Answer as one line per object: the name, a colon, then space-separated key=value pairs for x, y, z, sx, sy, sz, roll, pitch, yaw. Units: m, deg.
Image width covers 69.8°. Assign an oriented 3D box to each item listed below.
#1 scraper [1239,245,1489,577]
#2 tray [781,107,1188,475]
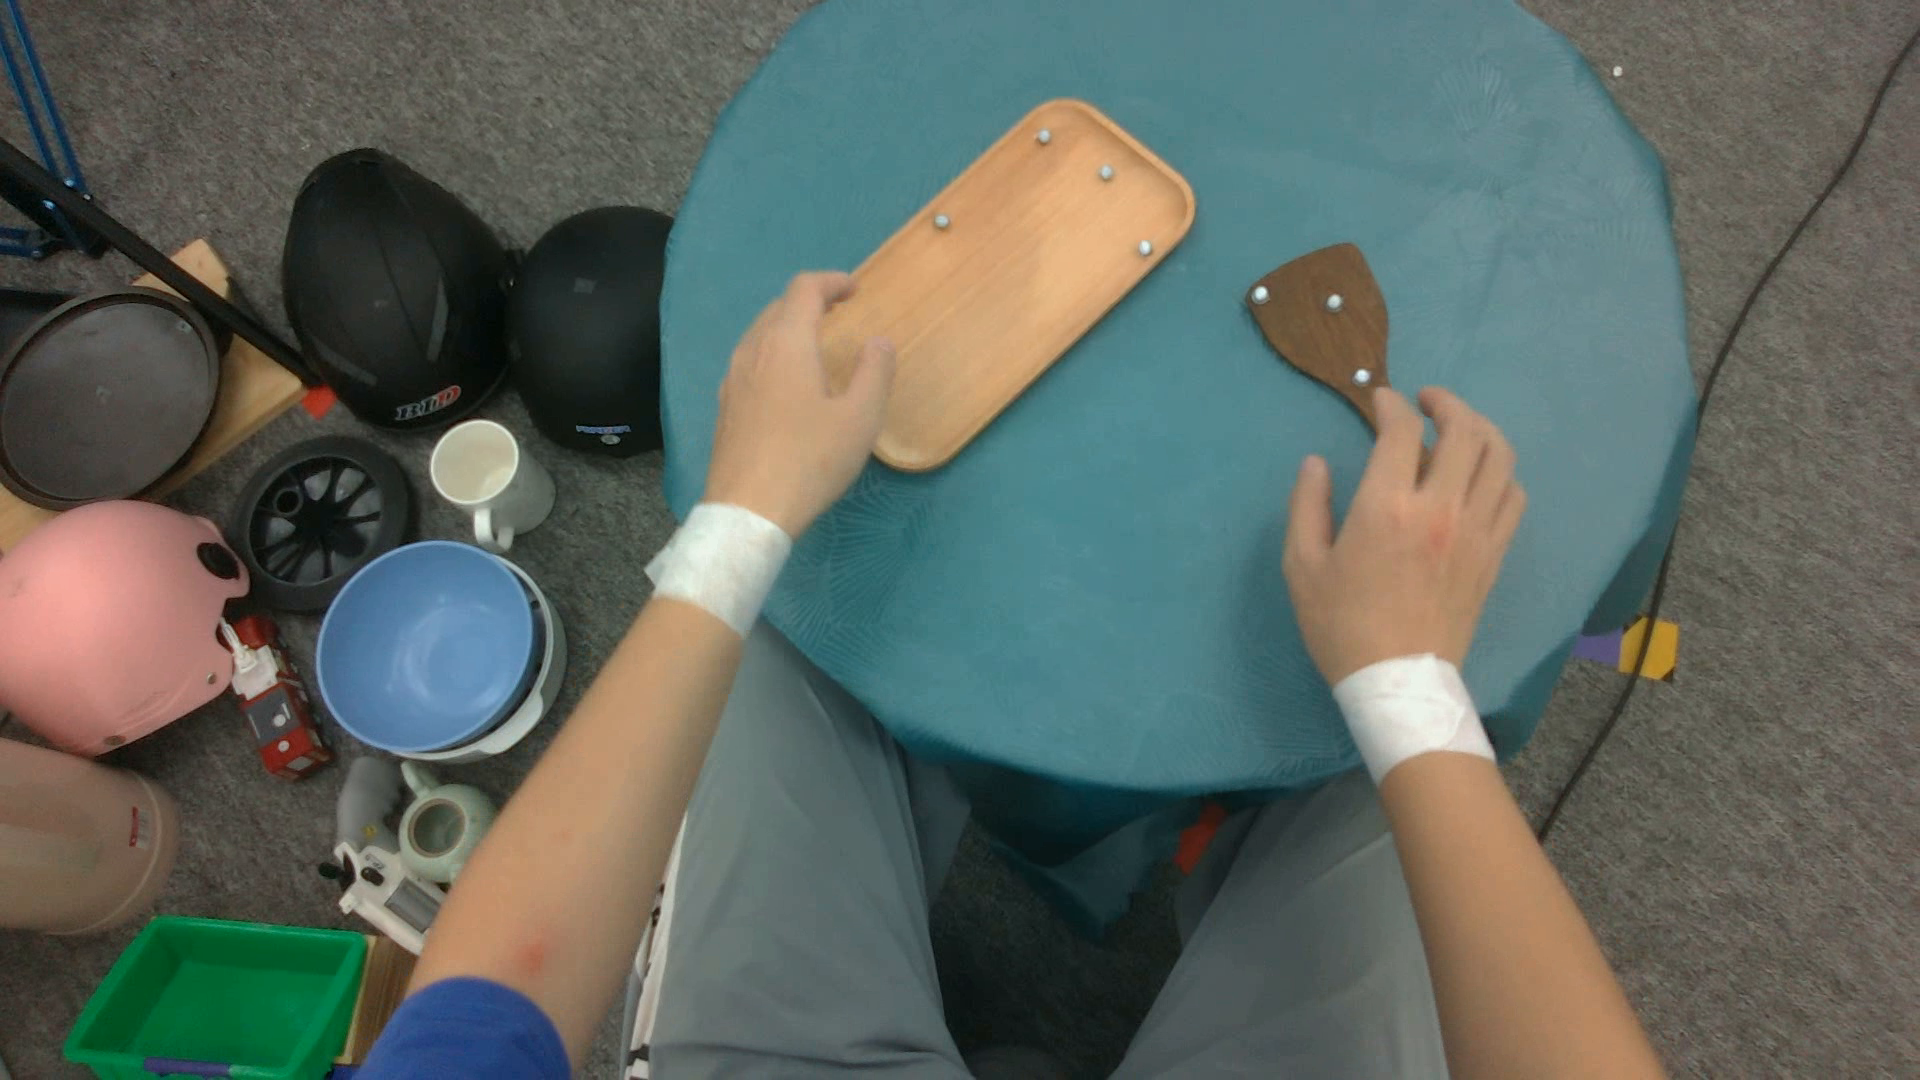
scraper: x=0.237 y=-0.074 z=0.785 sx=0.076 sy=0.011 sz=0.211 roll=-24 pitch=71 yaw=-3
tray: x=0.016 y=-0.152 z=0.827 sx=0.251 sy=0.023 sz=0.130 roll=-44 pitch=70 yaw=-10
